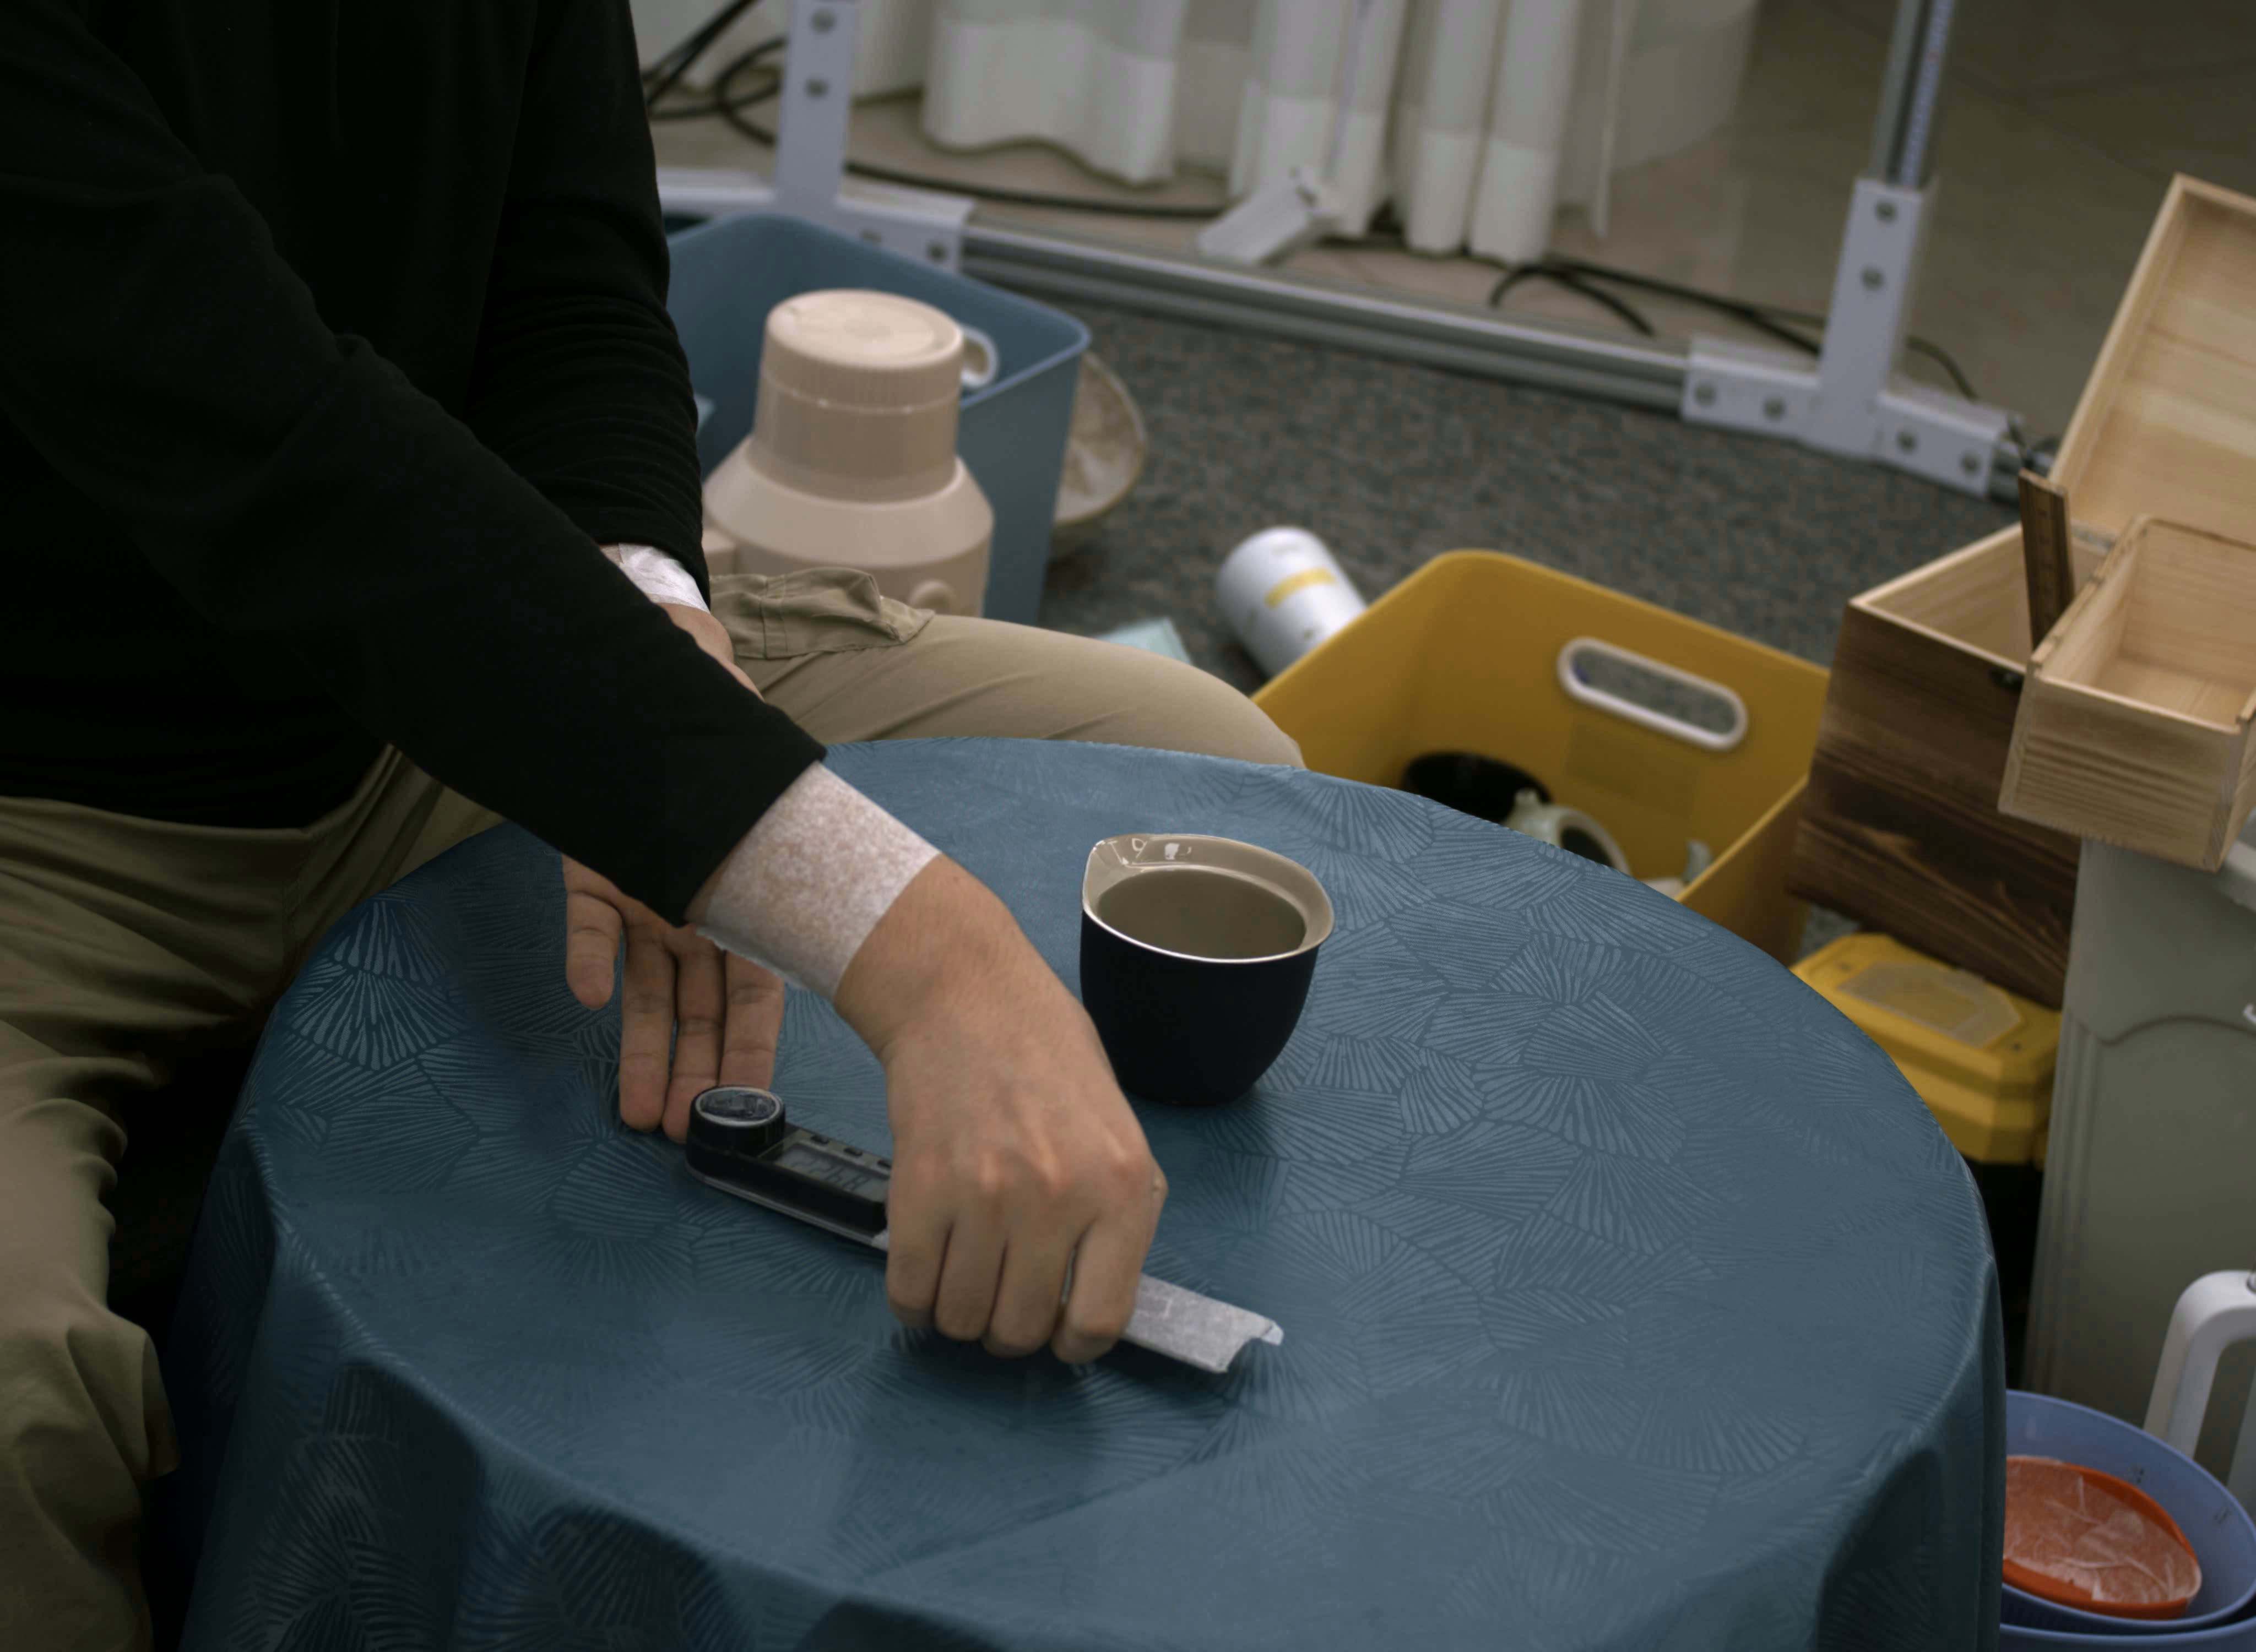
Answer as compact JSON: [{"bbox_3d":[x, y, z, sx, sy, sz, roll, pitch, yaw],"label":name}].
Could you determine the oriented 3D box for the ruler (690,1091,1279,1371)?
[{"bbox_3d":[-0.053,0.130,1.740,0.219,0.024,0.038,17,35,29],"label":"ruler"}]

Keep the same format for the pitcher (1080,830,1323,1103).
[{"bbox_3d":[0.020,0.052,1.866,0.083,0.071,0.097,-17,36,-37],"label":"pitcher"}]
